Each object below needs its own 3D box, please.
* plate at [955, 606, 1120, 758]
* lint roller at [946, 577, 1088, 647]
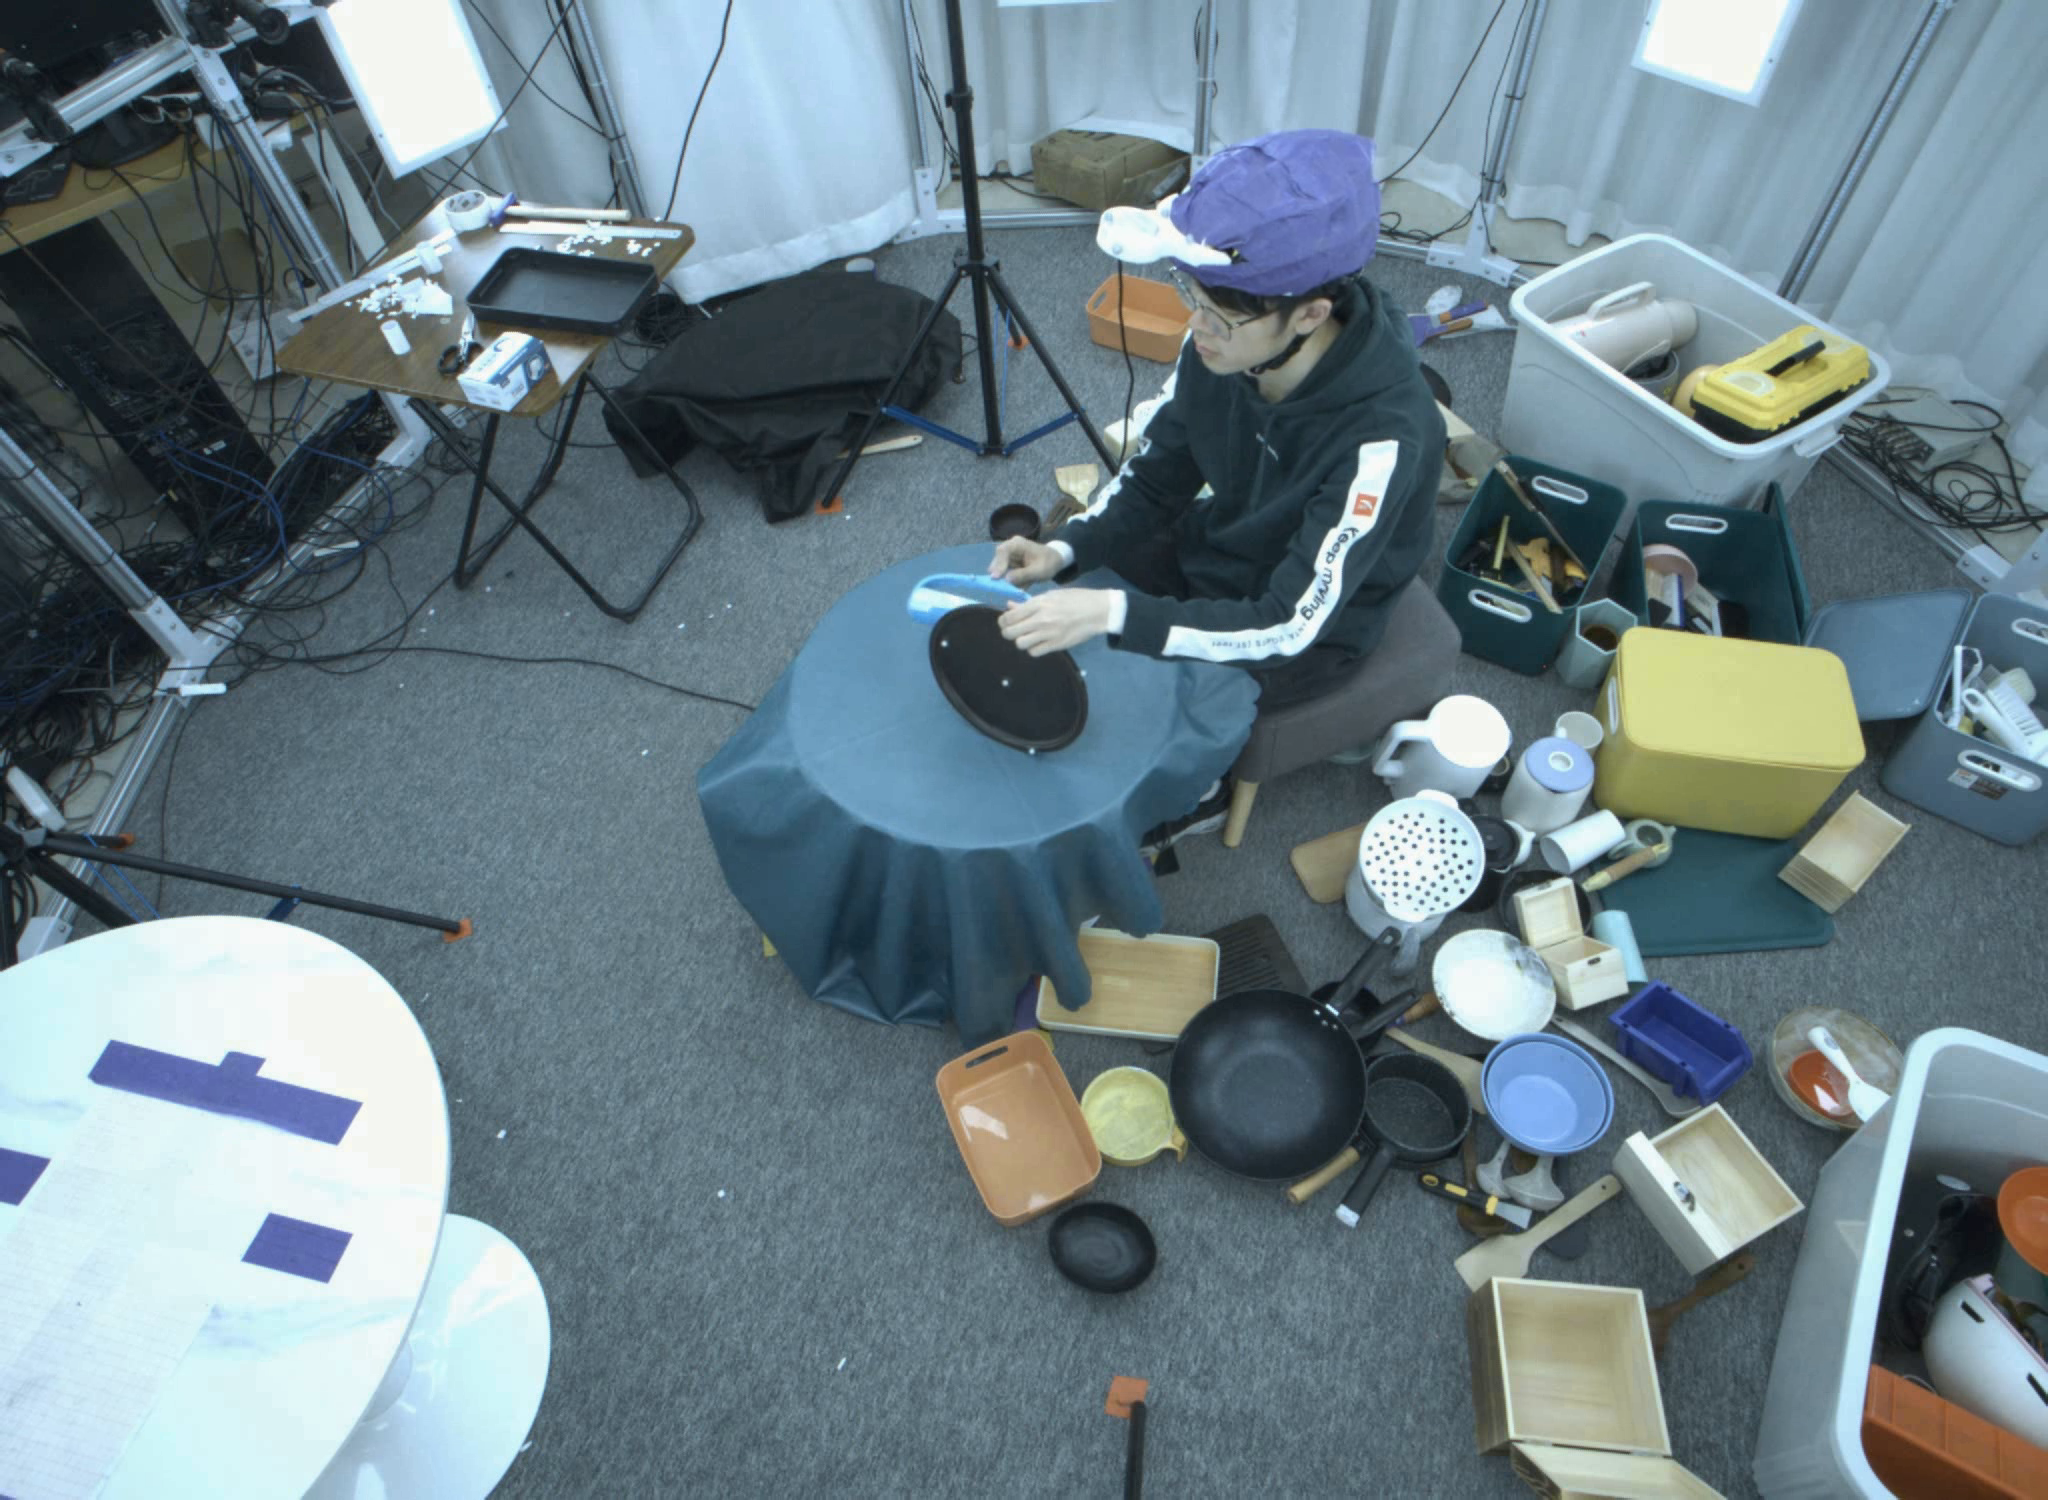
[{"bbox_3d":[0.020,-0.094,1.696,0.251,0.257,0.029,22,52,17],"label":"plate"},{"bbox_3d":[0.015,-0.203,1.766,0.225,0.069,0.180,18,58,24],"label":"lint roller"}]
